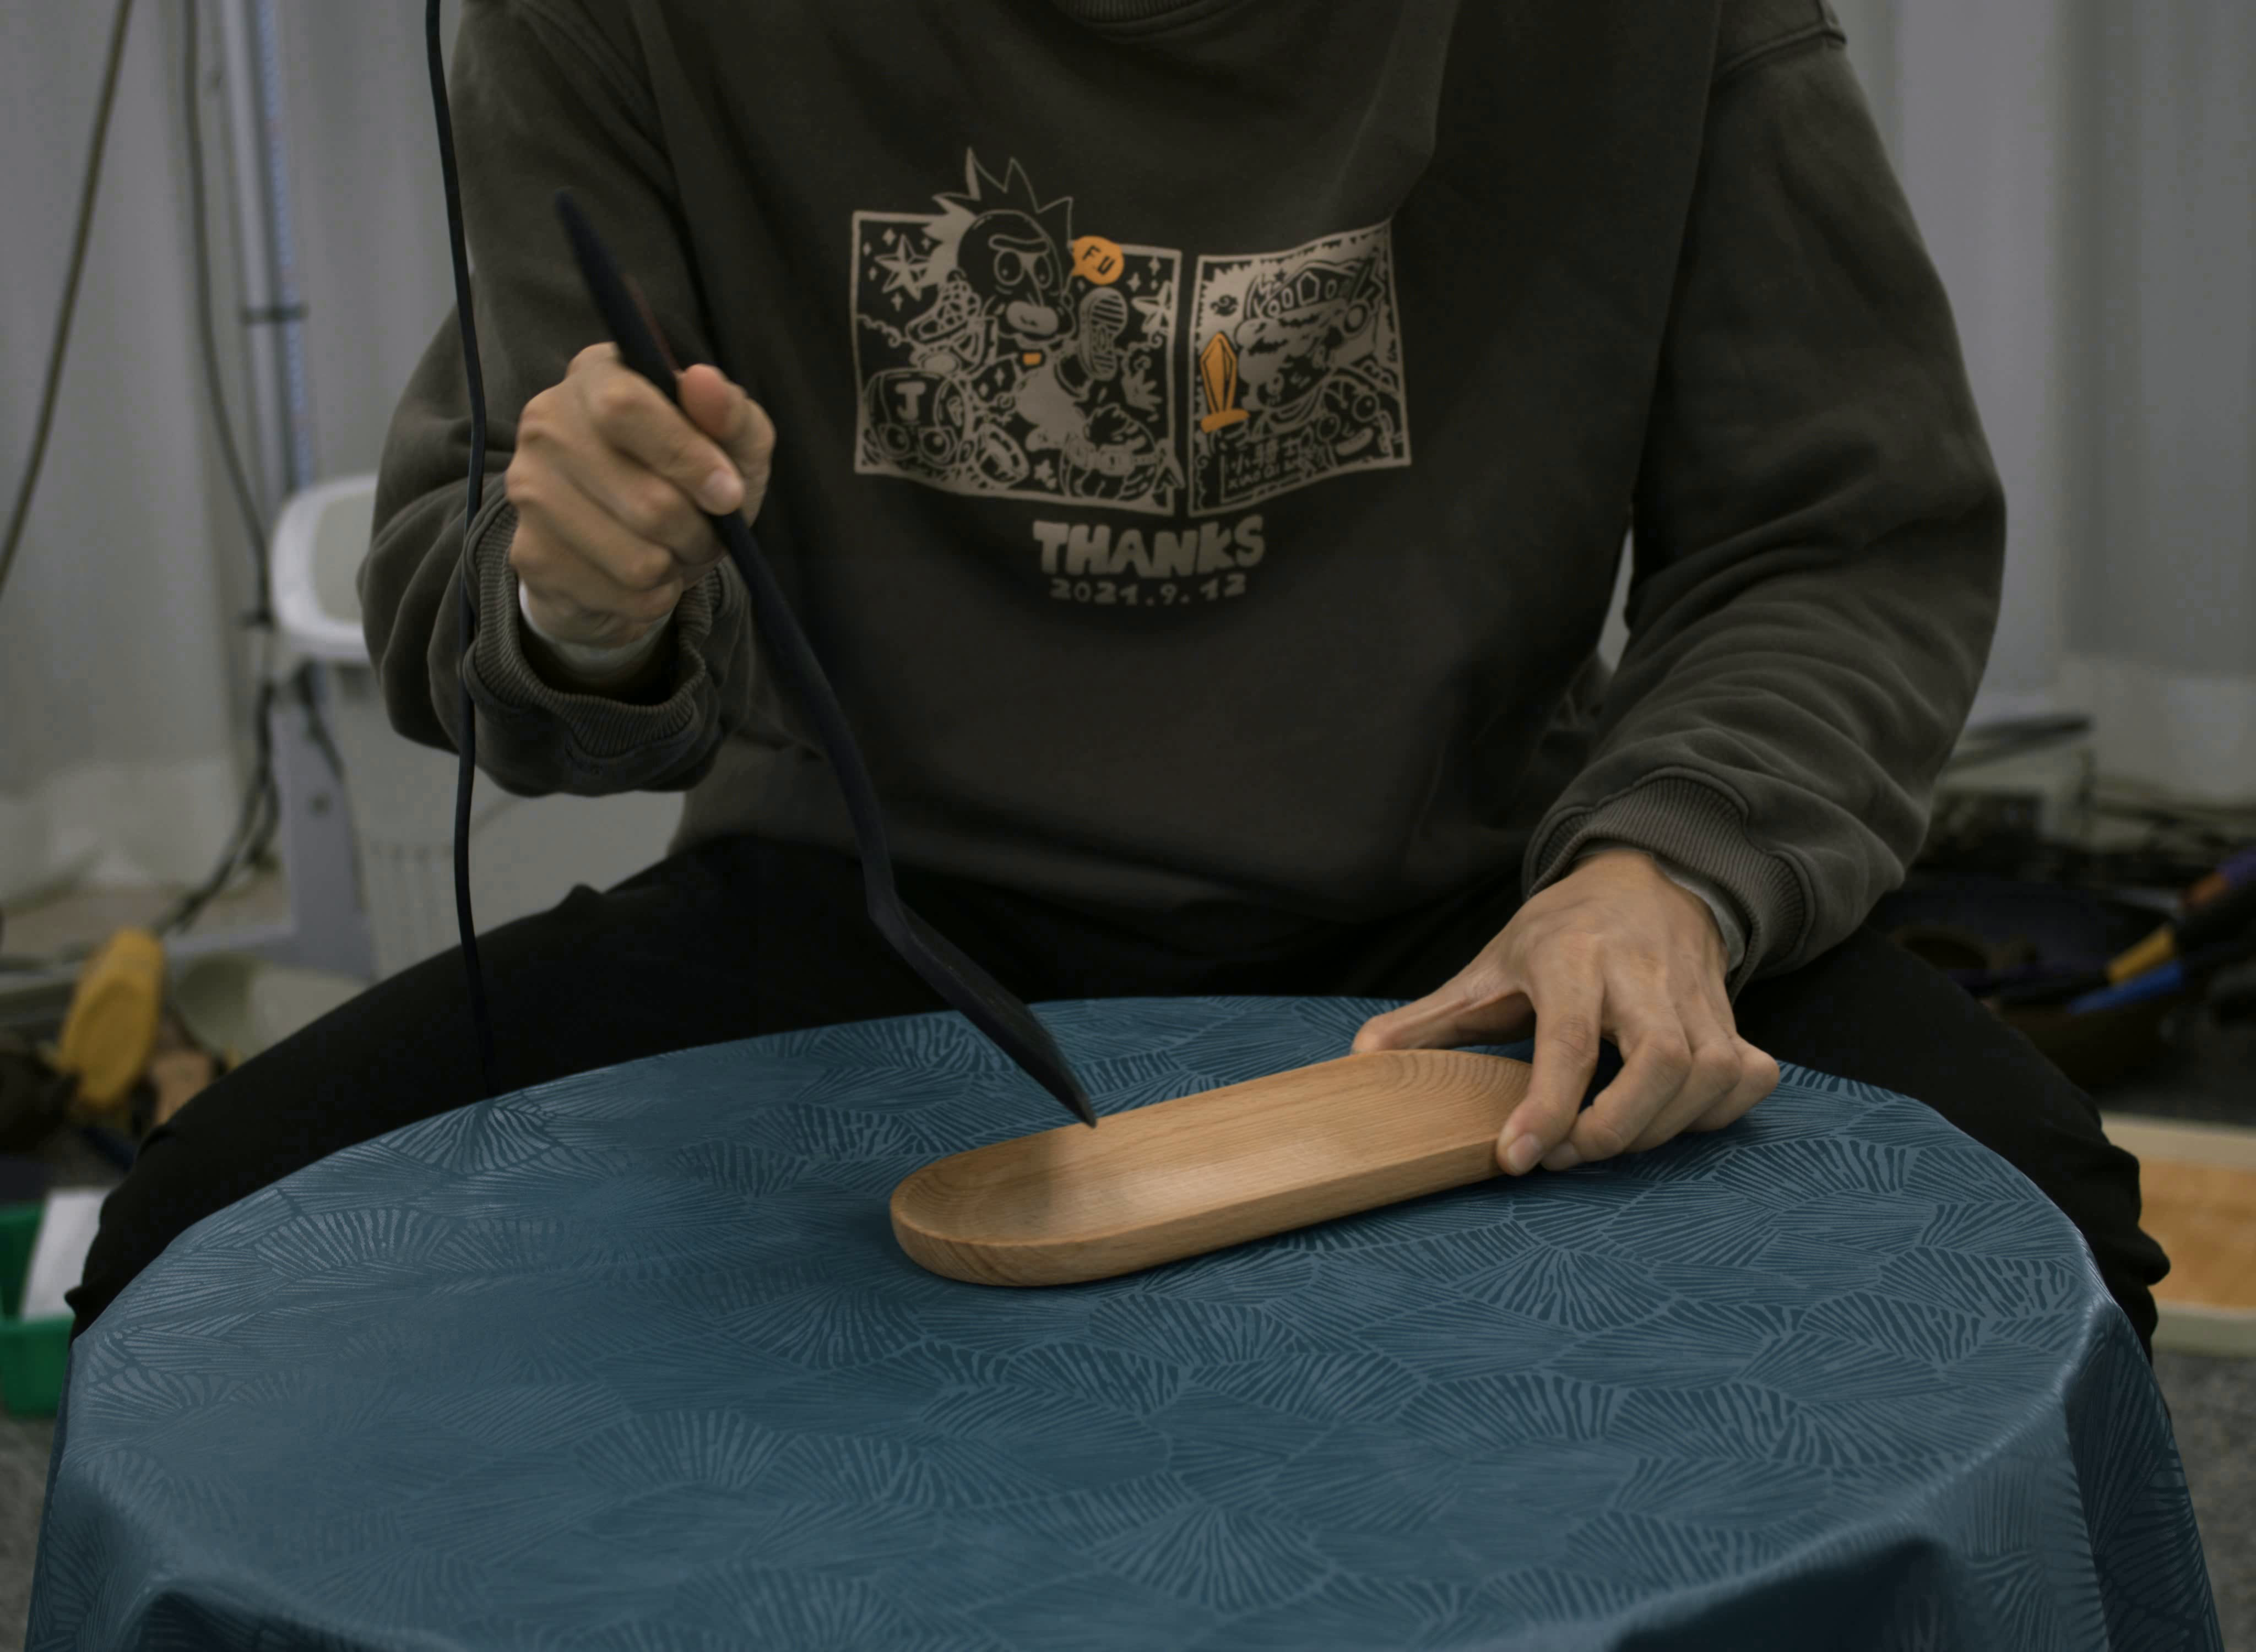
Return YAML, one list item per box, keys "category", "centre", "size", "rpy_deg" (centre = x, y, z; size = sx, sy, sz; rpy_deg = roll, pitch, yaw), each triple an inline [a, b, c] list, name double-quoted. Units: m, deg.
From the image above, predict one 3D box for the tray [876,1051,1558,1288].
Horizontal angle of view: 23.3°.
- category: "tray"
  centre: [0.030, 0.107, 1.710]
  size: [0.230, 0.020, 0.102]
  rpy_deg: [-13, 17, -27]

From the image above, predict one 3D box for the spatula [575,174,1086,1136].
- category: "spatula"
  centre: [-0.092, -0.051, 1.669]
  size: [0.040, 0.325, 0.100]
  rpy_deg: [-22, 7, -4]
